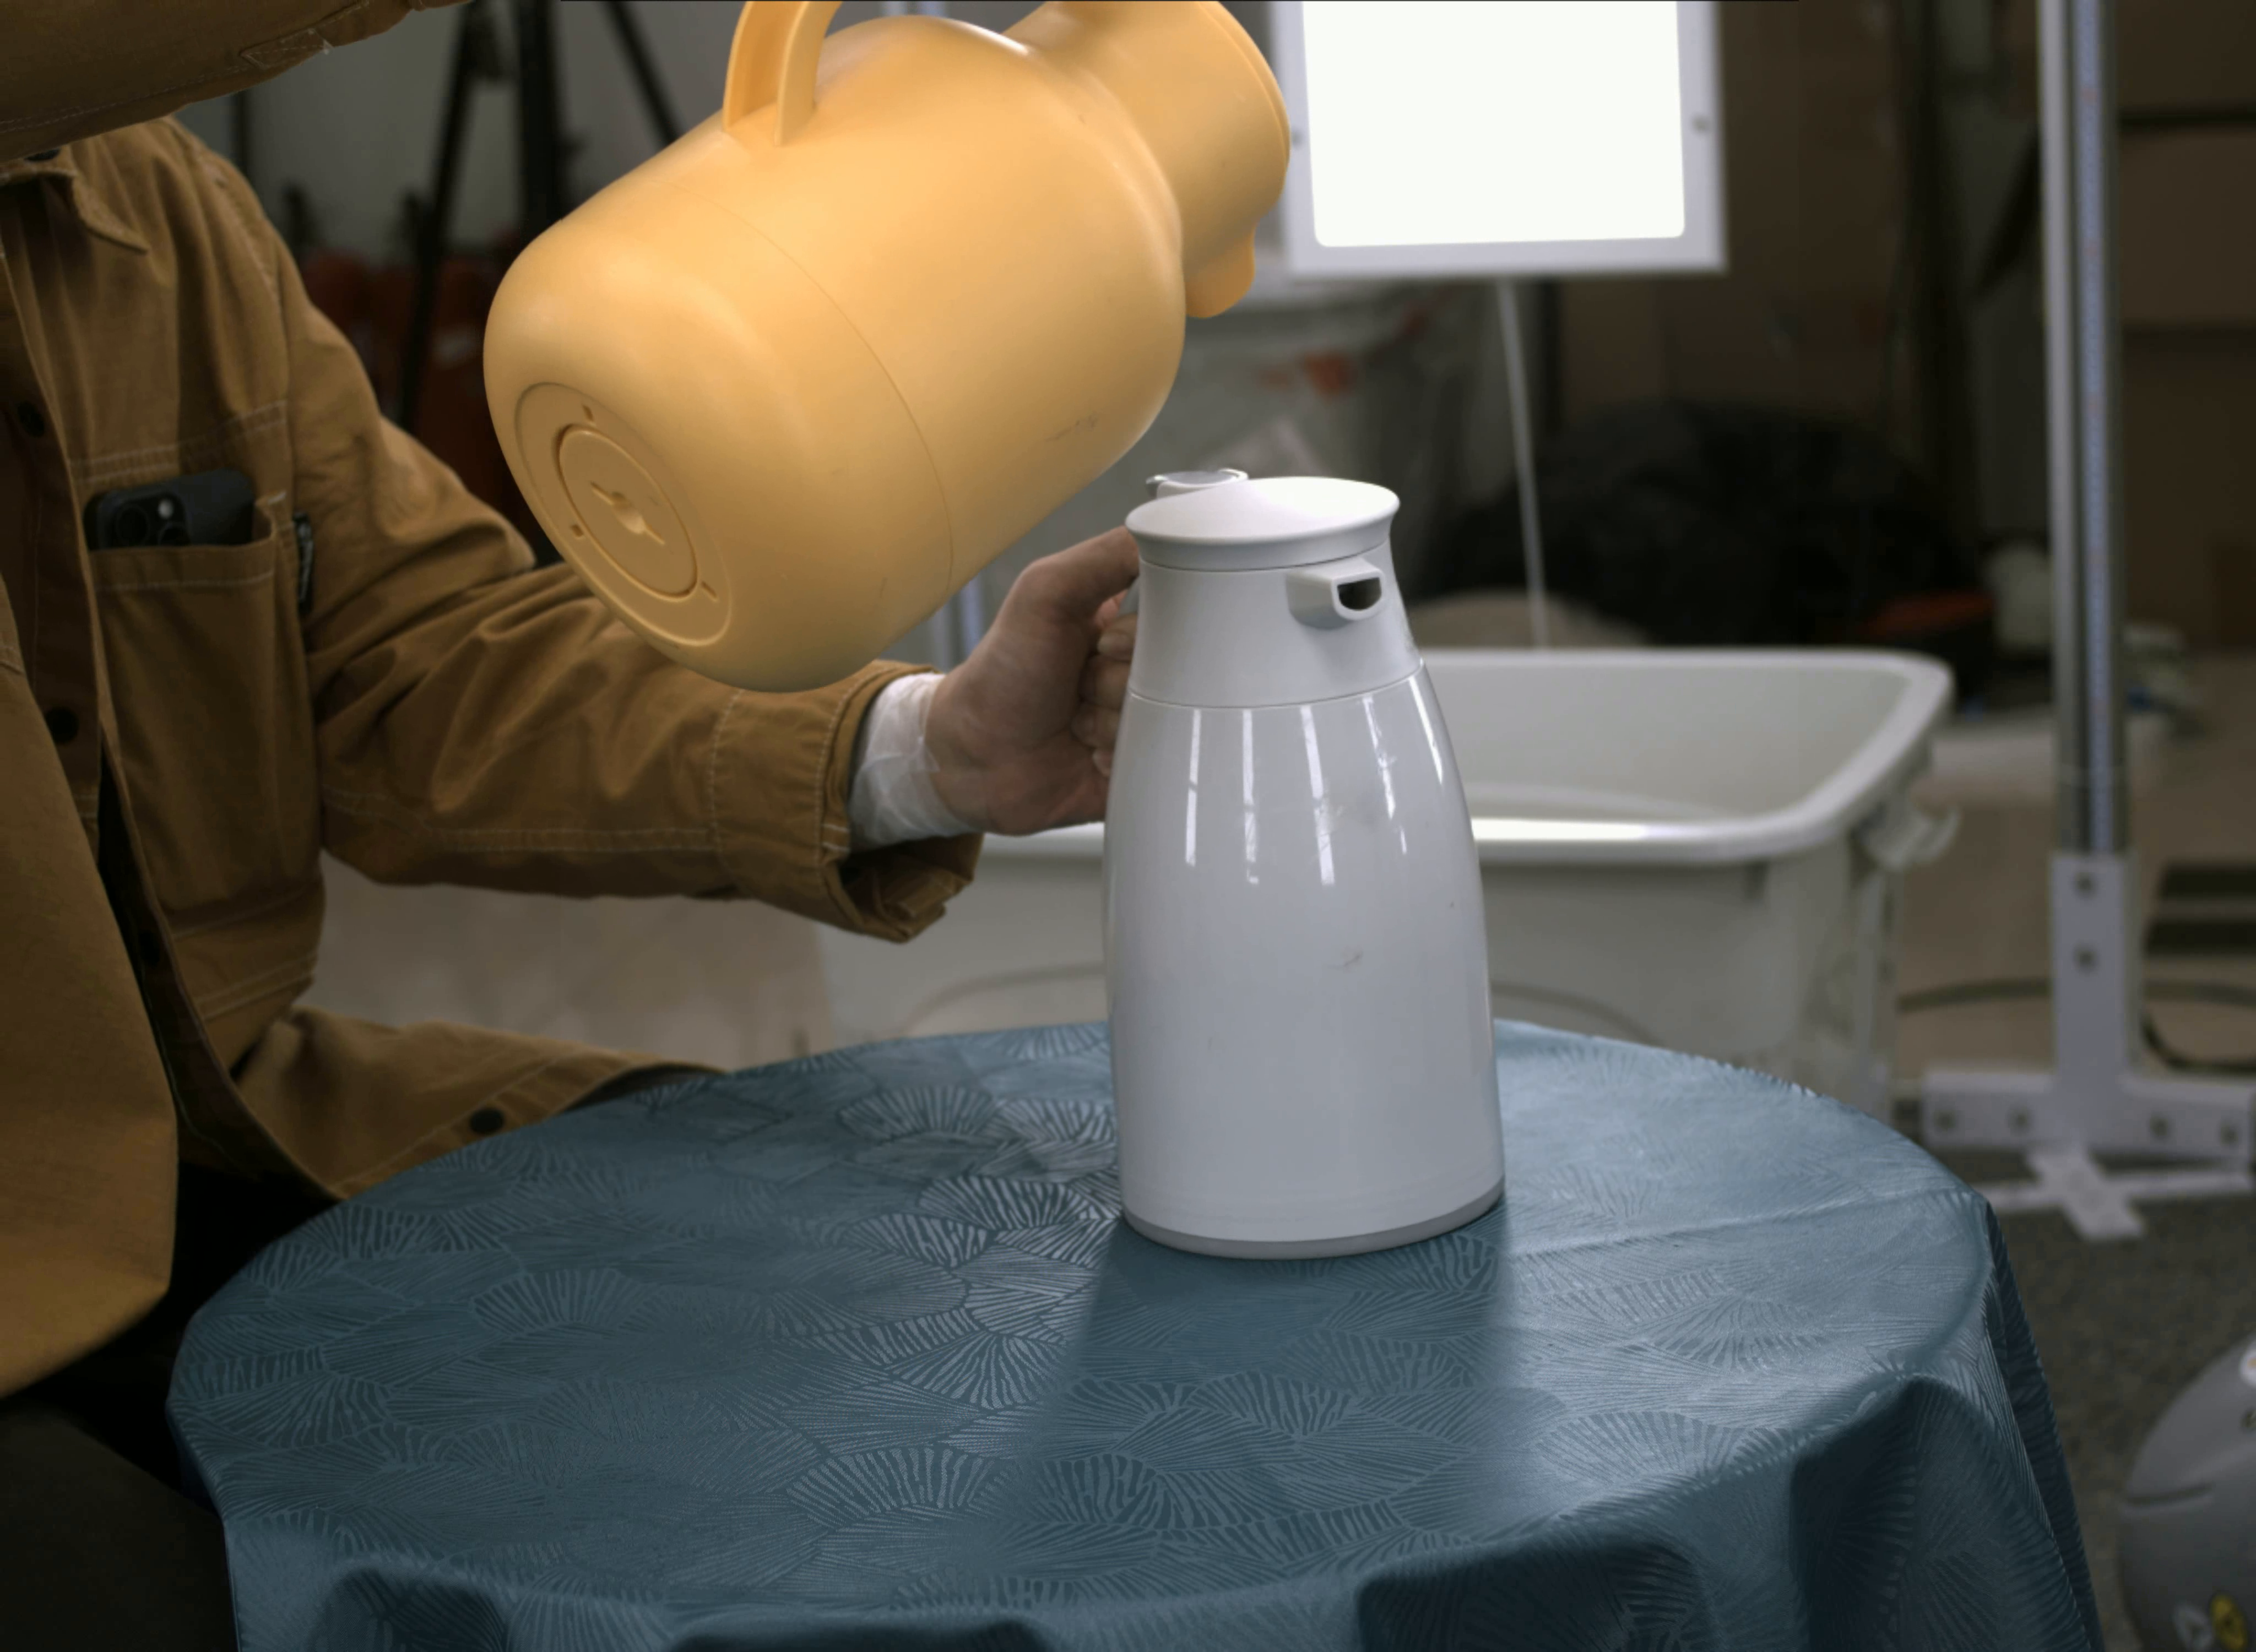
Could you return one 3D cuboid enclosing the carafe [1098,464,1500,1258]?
[{"bbox_3d":[0.042,0.003,1.859,0.130,0.249,0.170,-12,15,-26],"label":"carafe"}]

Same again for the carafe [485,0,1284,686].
[{"bbox_3d":[-0.070,-0.185,1.692,0.167,0.202,0.256,17,48,44],"label":"carafe"}]
